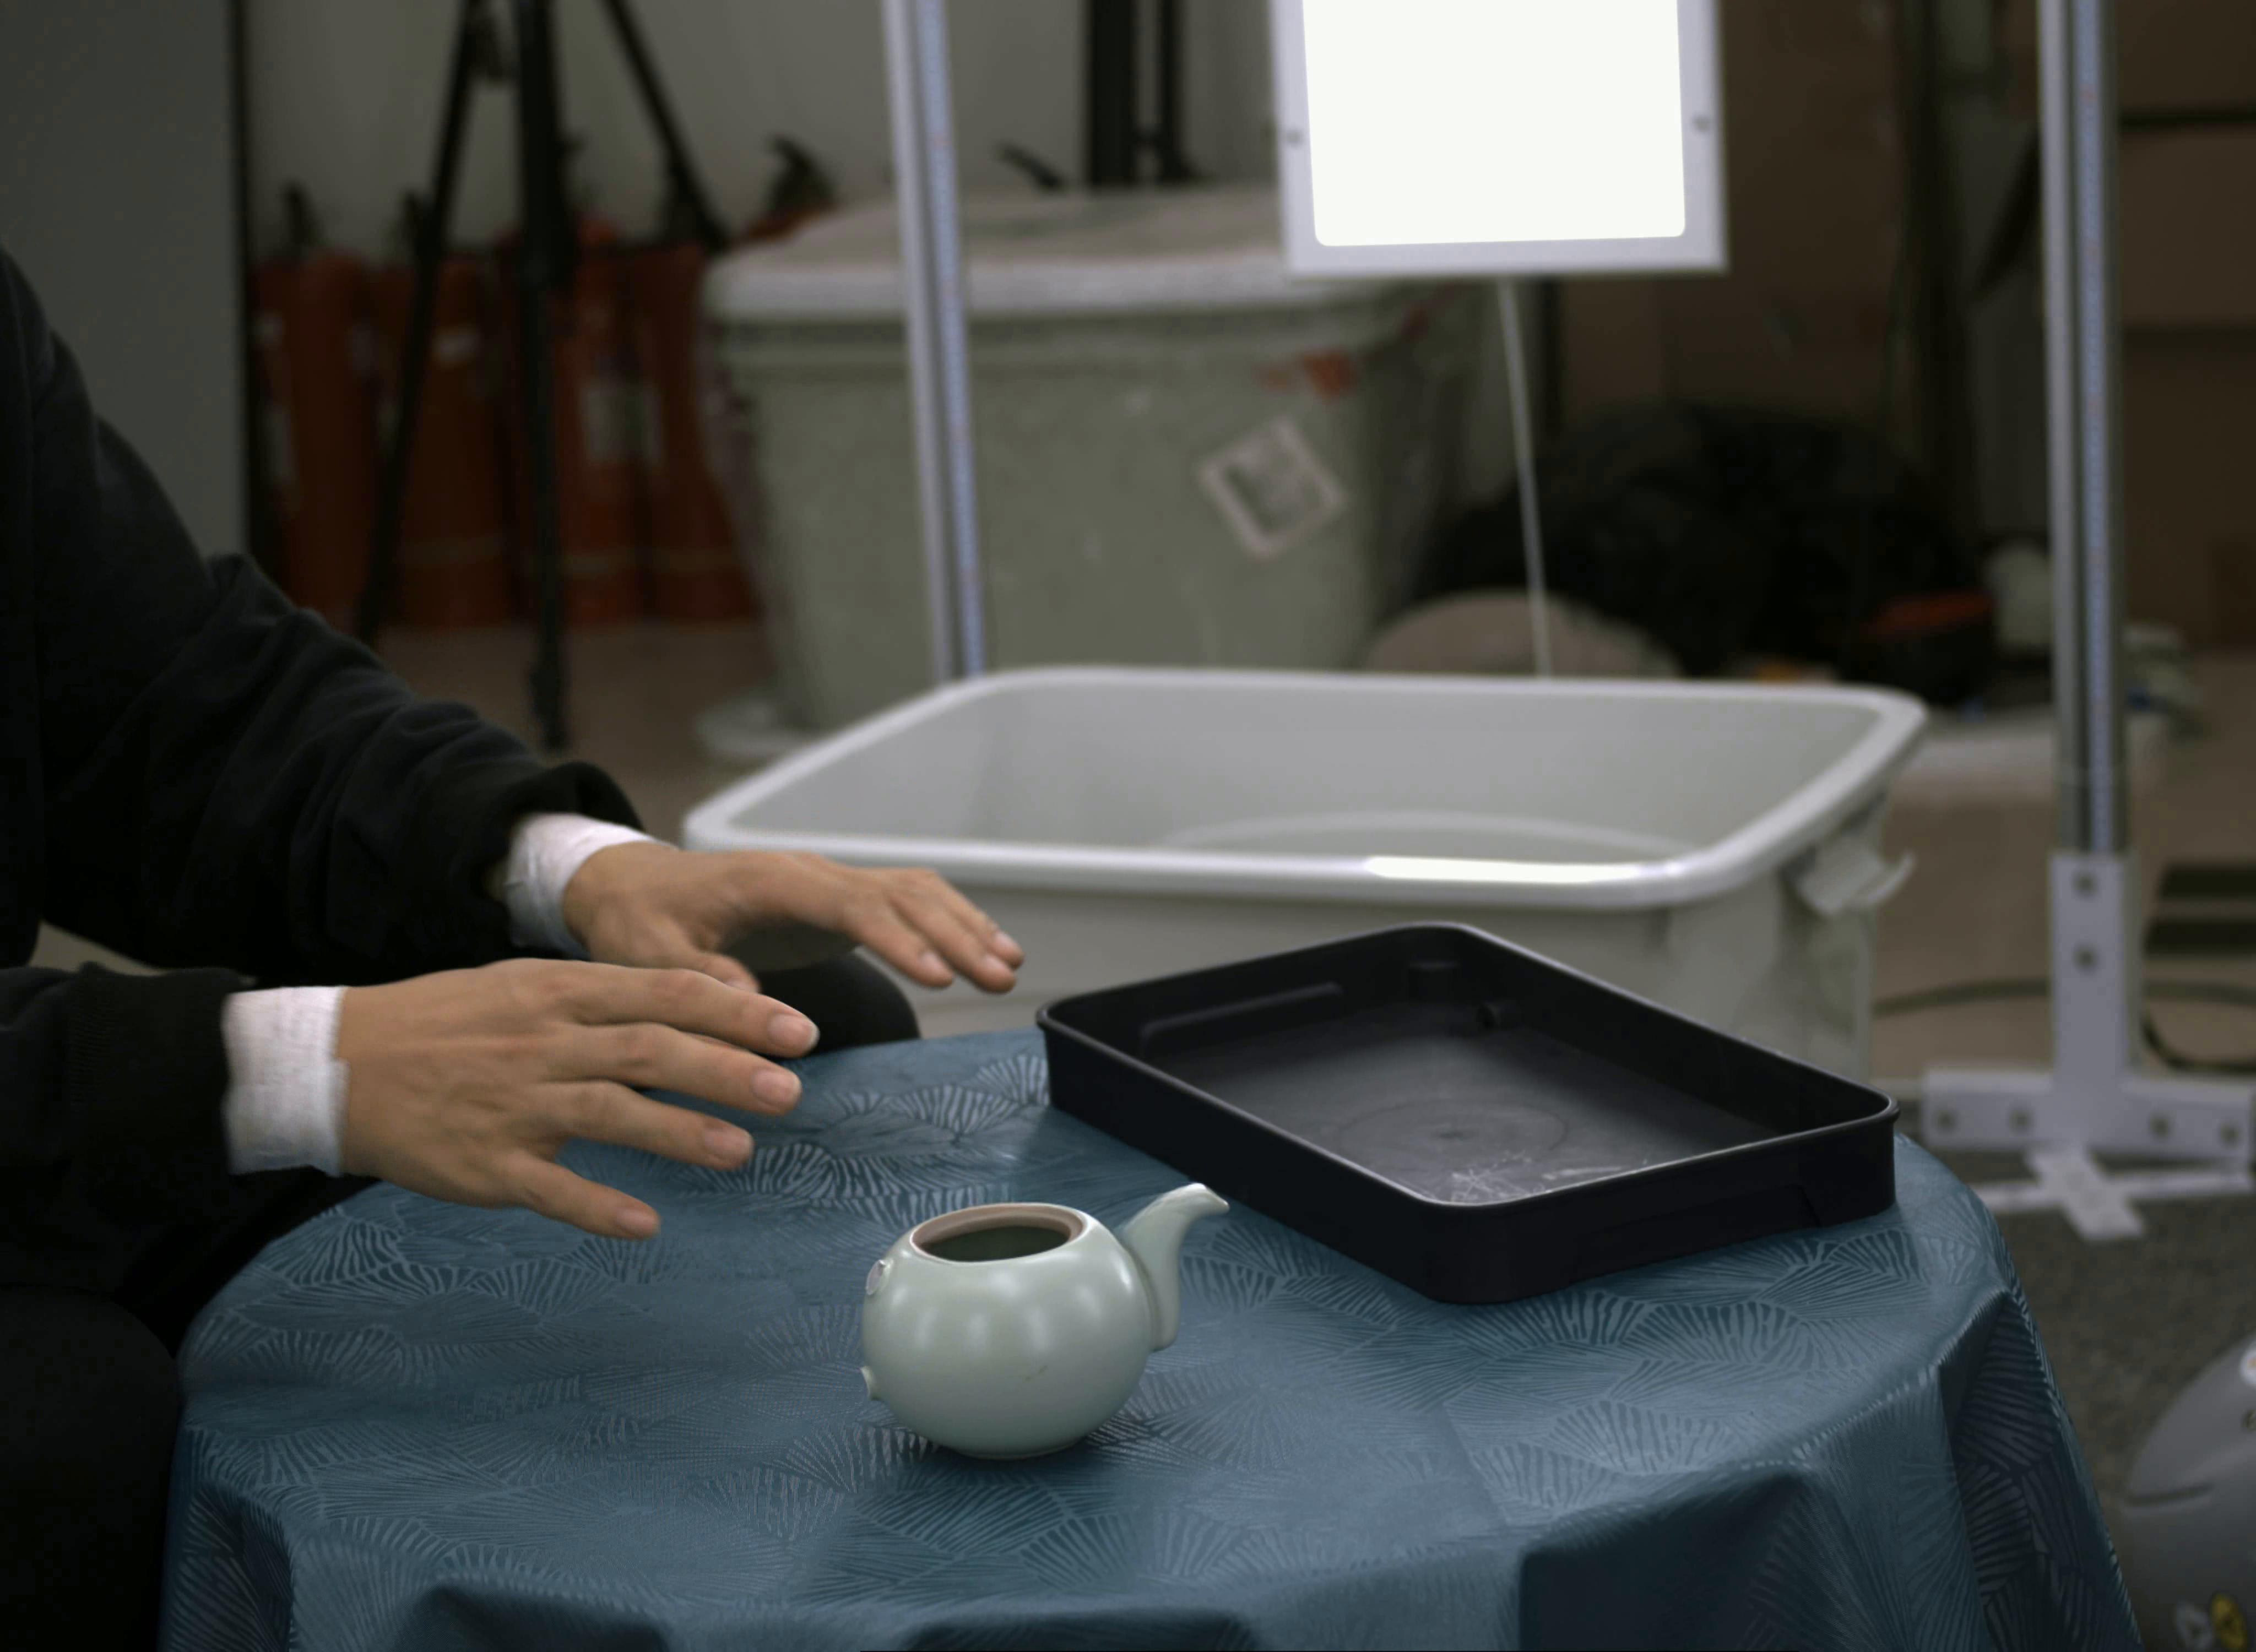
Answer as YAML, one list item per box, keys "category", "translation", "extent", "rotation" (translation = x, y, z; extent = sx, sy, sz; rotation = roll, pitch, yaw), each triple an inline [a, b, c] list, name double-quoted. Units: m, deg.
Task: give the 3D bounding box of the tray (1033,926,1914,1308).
- category: "tray"
  translation: [0.114, 0.096, 1.906]
  extent: [0.180, 0.037, 0.323]
  rotation: [-12, 15, -26]

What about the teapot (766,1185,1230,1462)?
- category: "teapot"
  translation: [-0.038, 0.150, 1.664]
  extent: [0.142, 0.075, 0.089]
  rotation: [-5, 14, -7]
